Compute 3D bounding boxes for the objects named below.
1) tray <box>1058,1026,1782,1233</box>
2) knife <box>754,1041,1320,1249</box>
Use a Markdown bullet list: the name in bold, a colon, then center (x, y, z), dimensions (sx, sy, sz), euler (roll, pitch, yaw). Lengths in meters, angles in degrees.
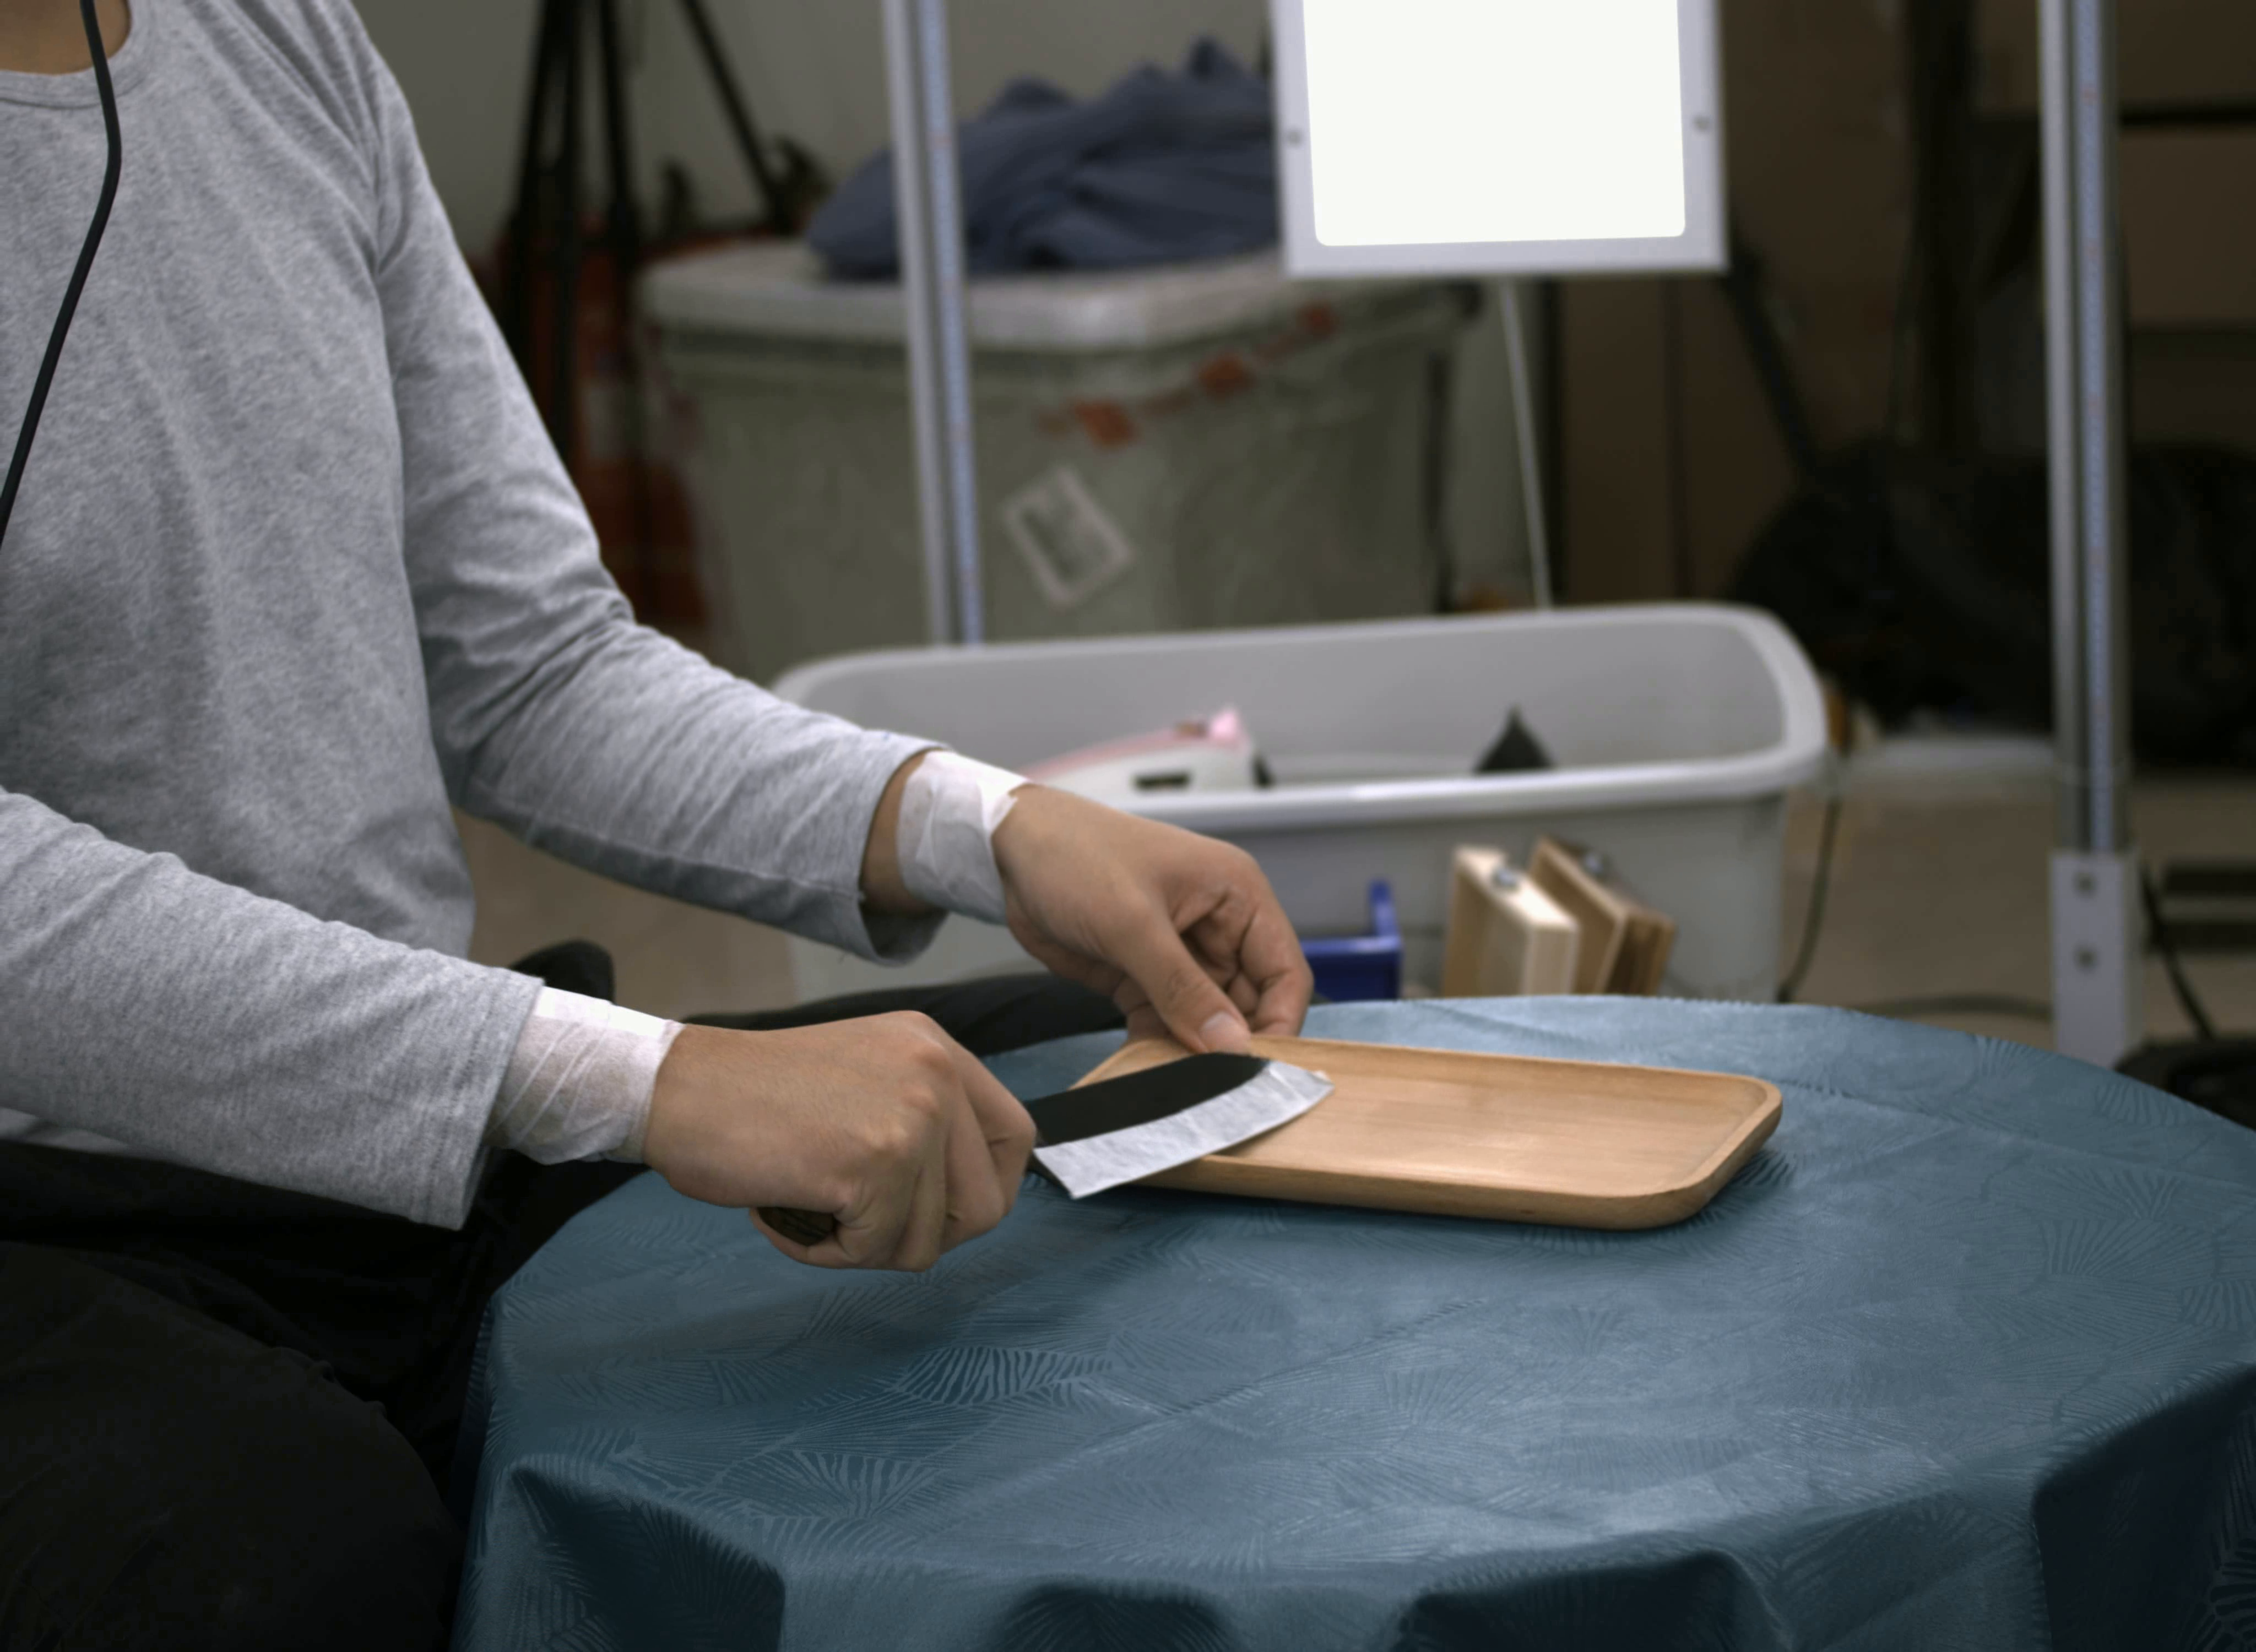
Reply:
- **tray**: center (0.096, 0.104, 1.907), dimensions (0.255, 0.023, 0.128), euler (3, 16, 29)
- **knife**: center (-0.023, 0.105, 1.849), dimensions (0.051, 0.020, 0.282), euler (45, 32, 26)
